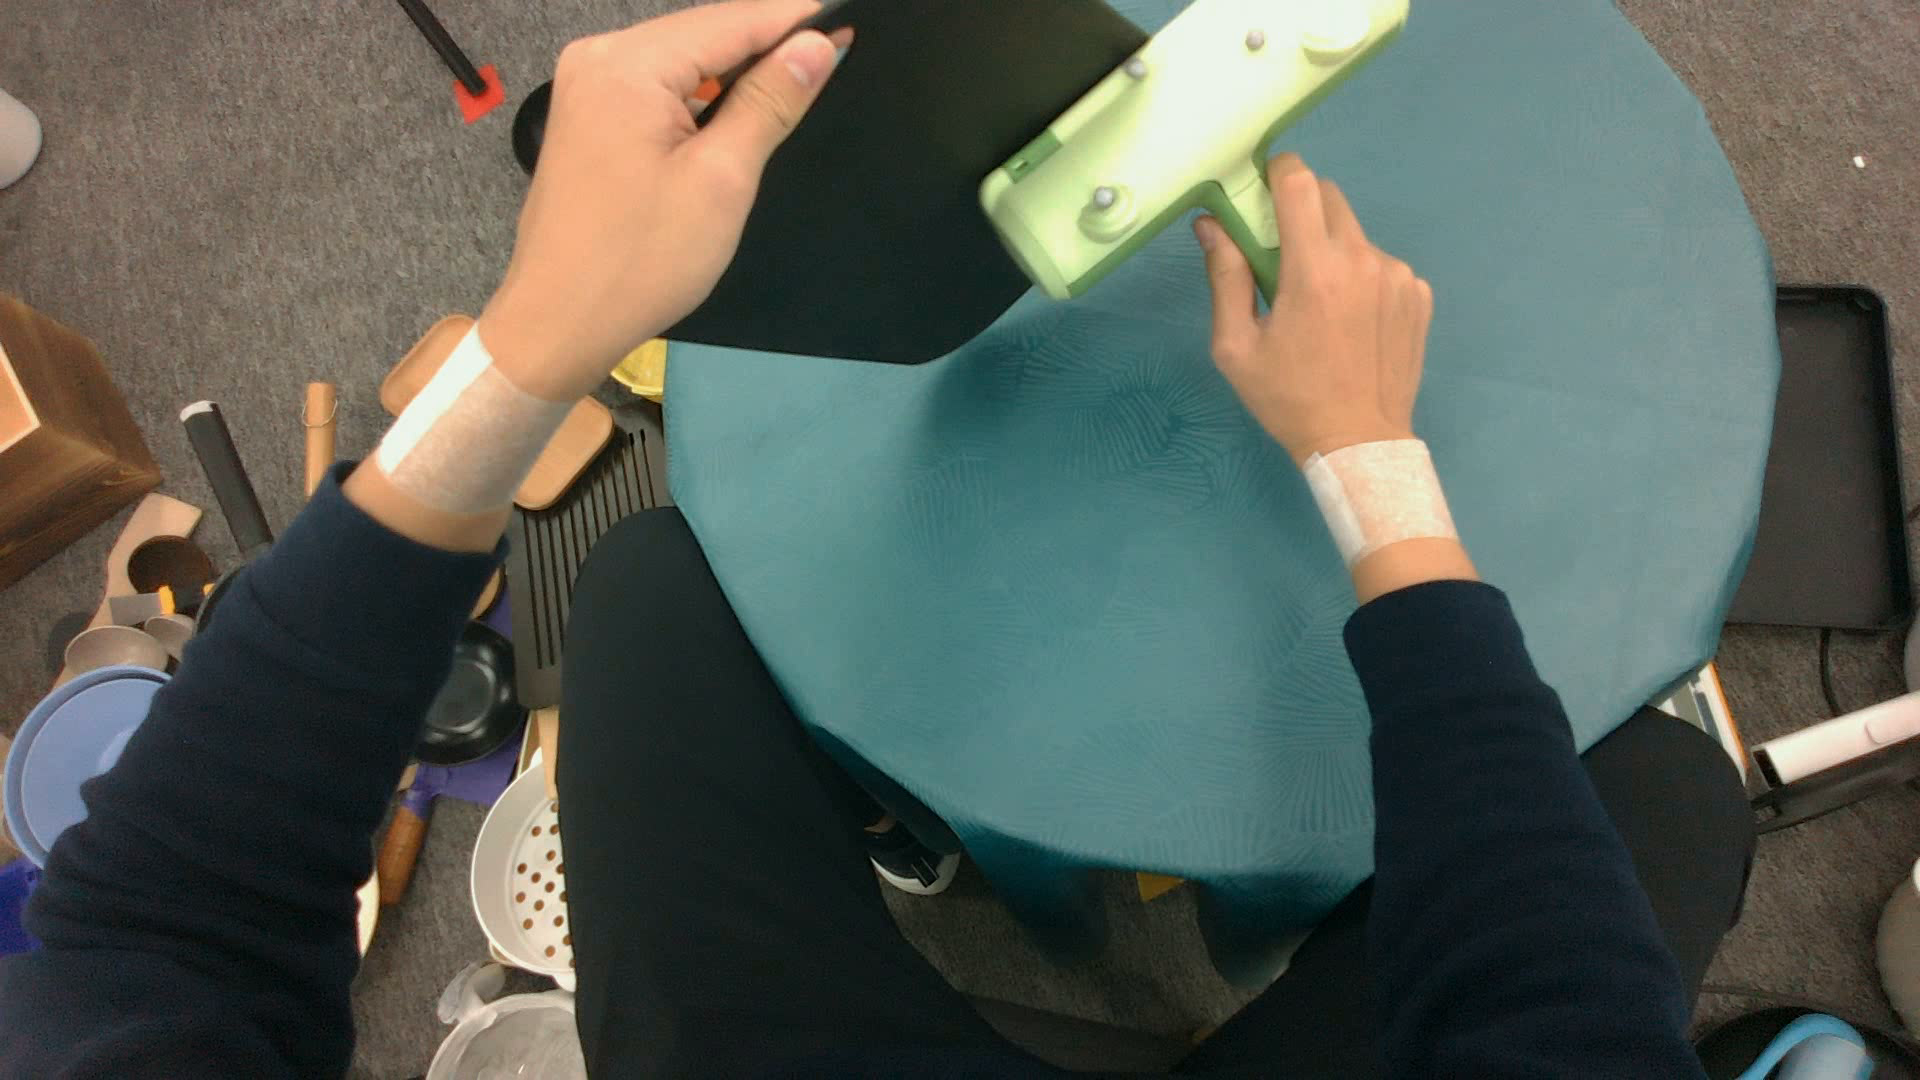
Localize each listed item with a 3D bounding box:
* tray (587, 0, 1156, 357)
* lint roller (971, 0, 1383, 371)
[{"bbox_3d":[-0.019,-0.154,0.590,0.210,0.326,0.010,-44,76,23],"label":"tray"},{"bbox_3d":[0.133,-0.149,0.620,0.198,0.082,0.183,-39,97,4],"label":"lint roller"}]
